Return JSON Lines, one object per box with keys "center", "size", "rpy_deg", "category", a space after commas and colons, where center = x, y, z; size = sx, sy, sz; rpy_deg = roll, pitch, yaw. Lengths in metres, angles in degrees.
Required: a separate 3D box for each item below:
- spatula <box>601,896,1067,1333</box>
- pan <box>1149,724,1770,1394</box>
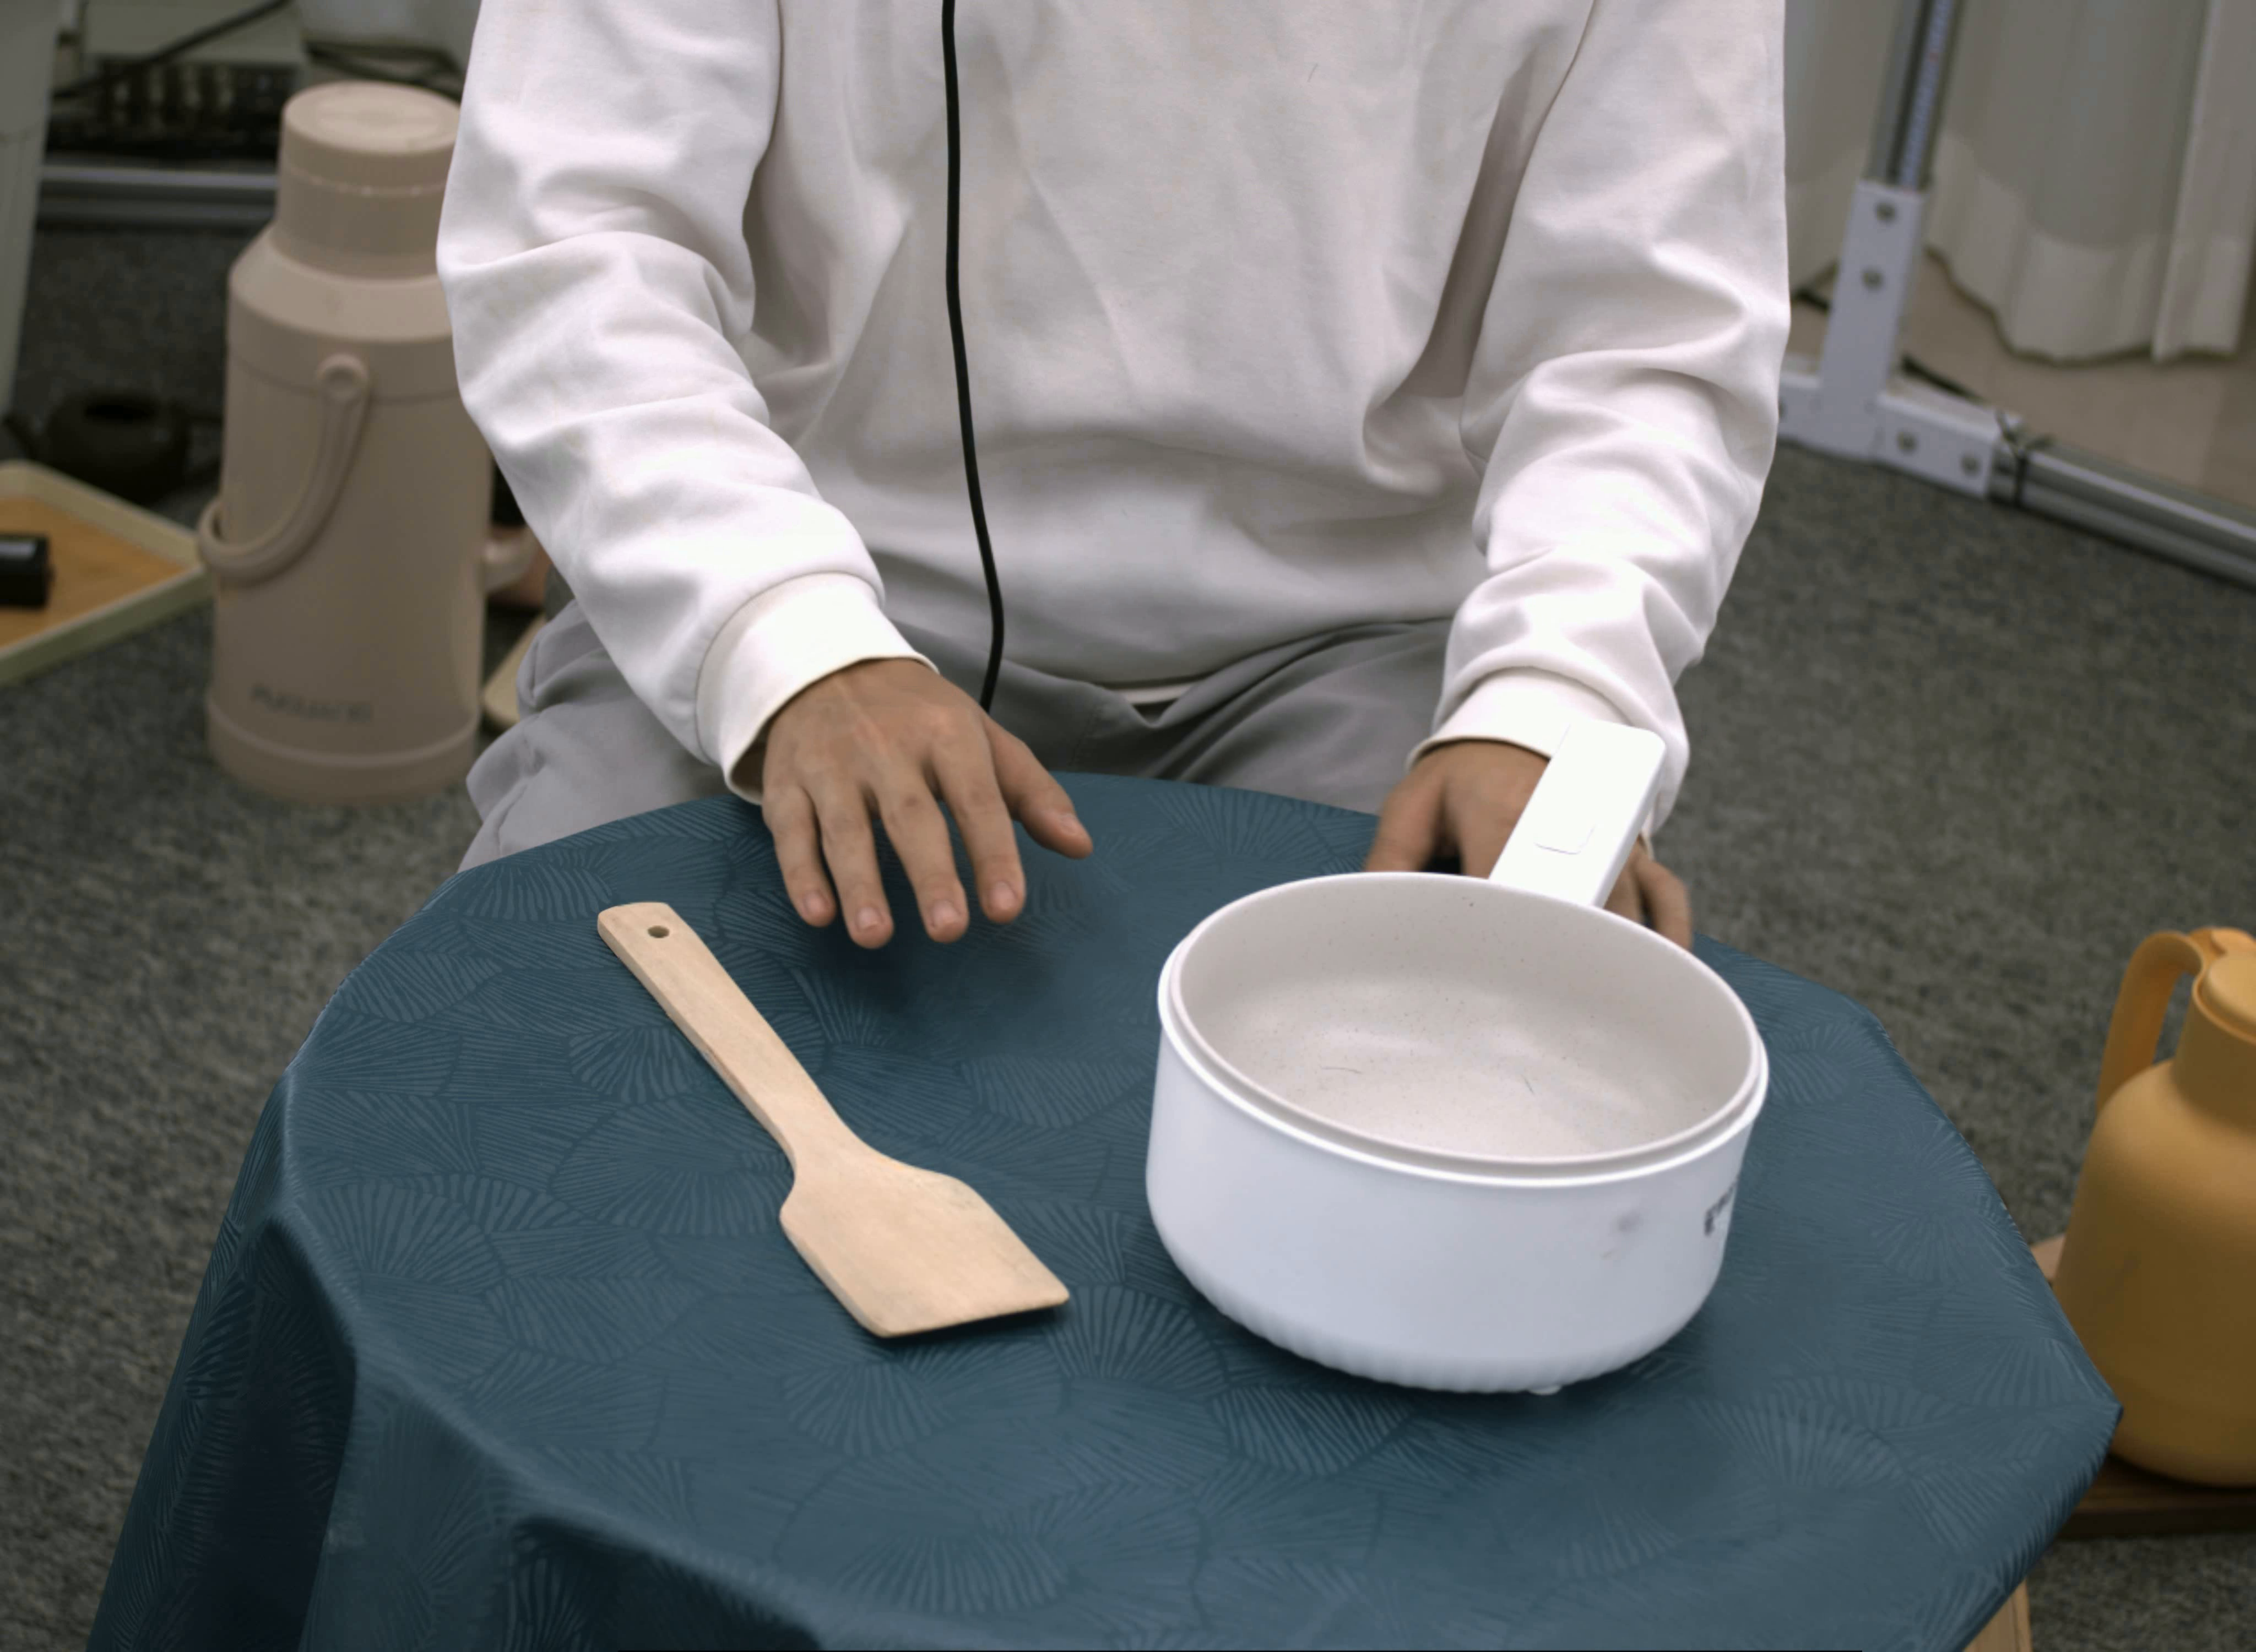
{"center": [-0.116, 0.095, 1.827], "size": [0.072, 0.010, 0.296], "rpy_deg": [-9, 31, -26], "category": "spatula"}
{"center": [0.127, 0.075, 1.825], "size": [0.201, 0.102, 0.355], "rpy_deg": [12, 26, 12], "category": "pan"}
